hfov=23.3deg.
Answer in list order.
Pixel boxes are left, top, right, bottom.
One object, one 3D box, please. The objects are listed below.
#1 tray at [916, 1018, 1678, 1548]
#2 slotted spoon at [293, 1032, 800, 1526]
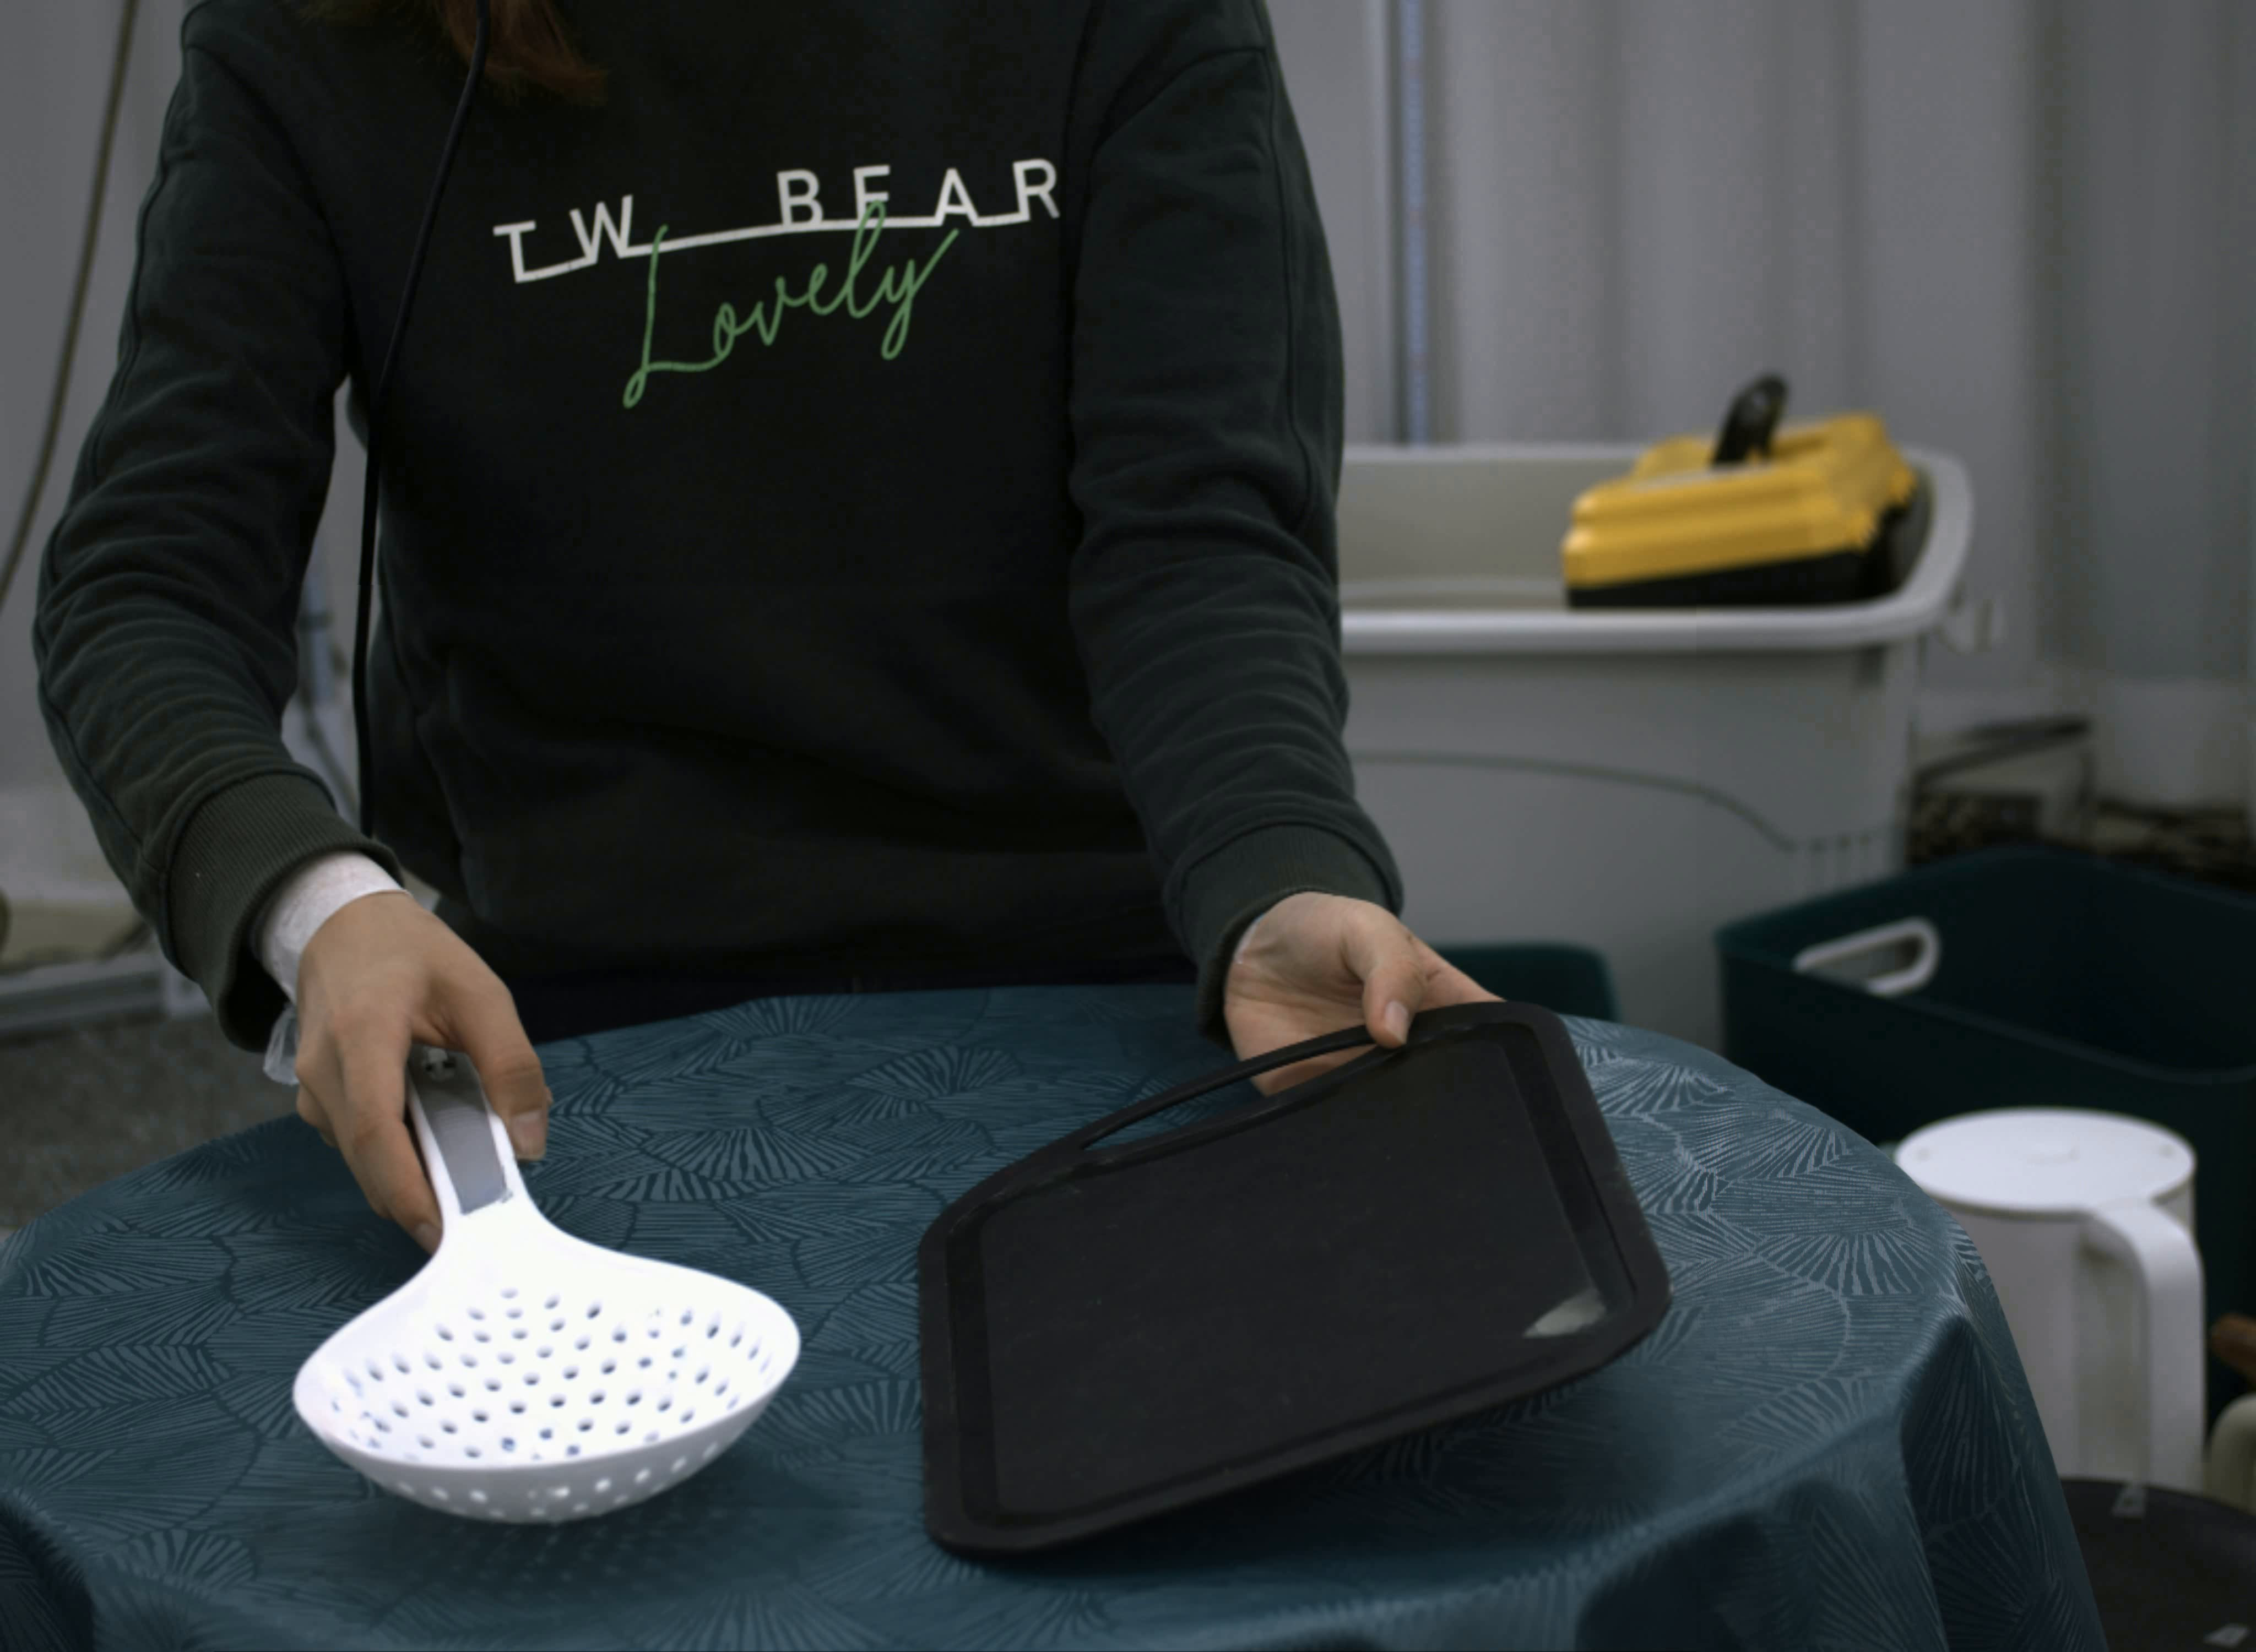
[{"bbox_3d":[0.039,0.121,1.564,0.210,0.010,0.328,-18,15,2],"label":"tray"},{"bbox_3d":[-0.180,0.122,1.571,0.135,0.045,0.353,-7,22,-11],"label":"slotted spoon"}]
